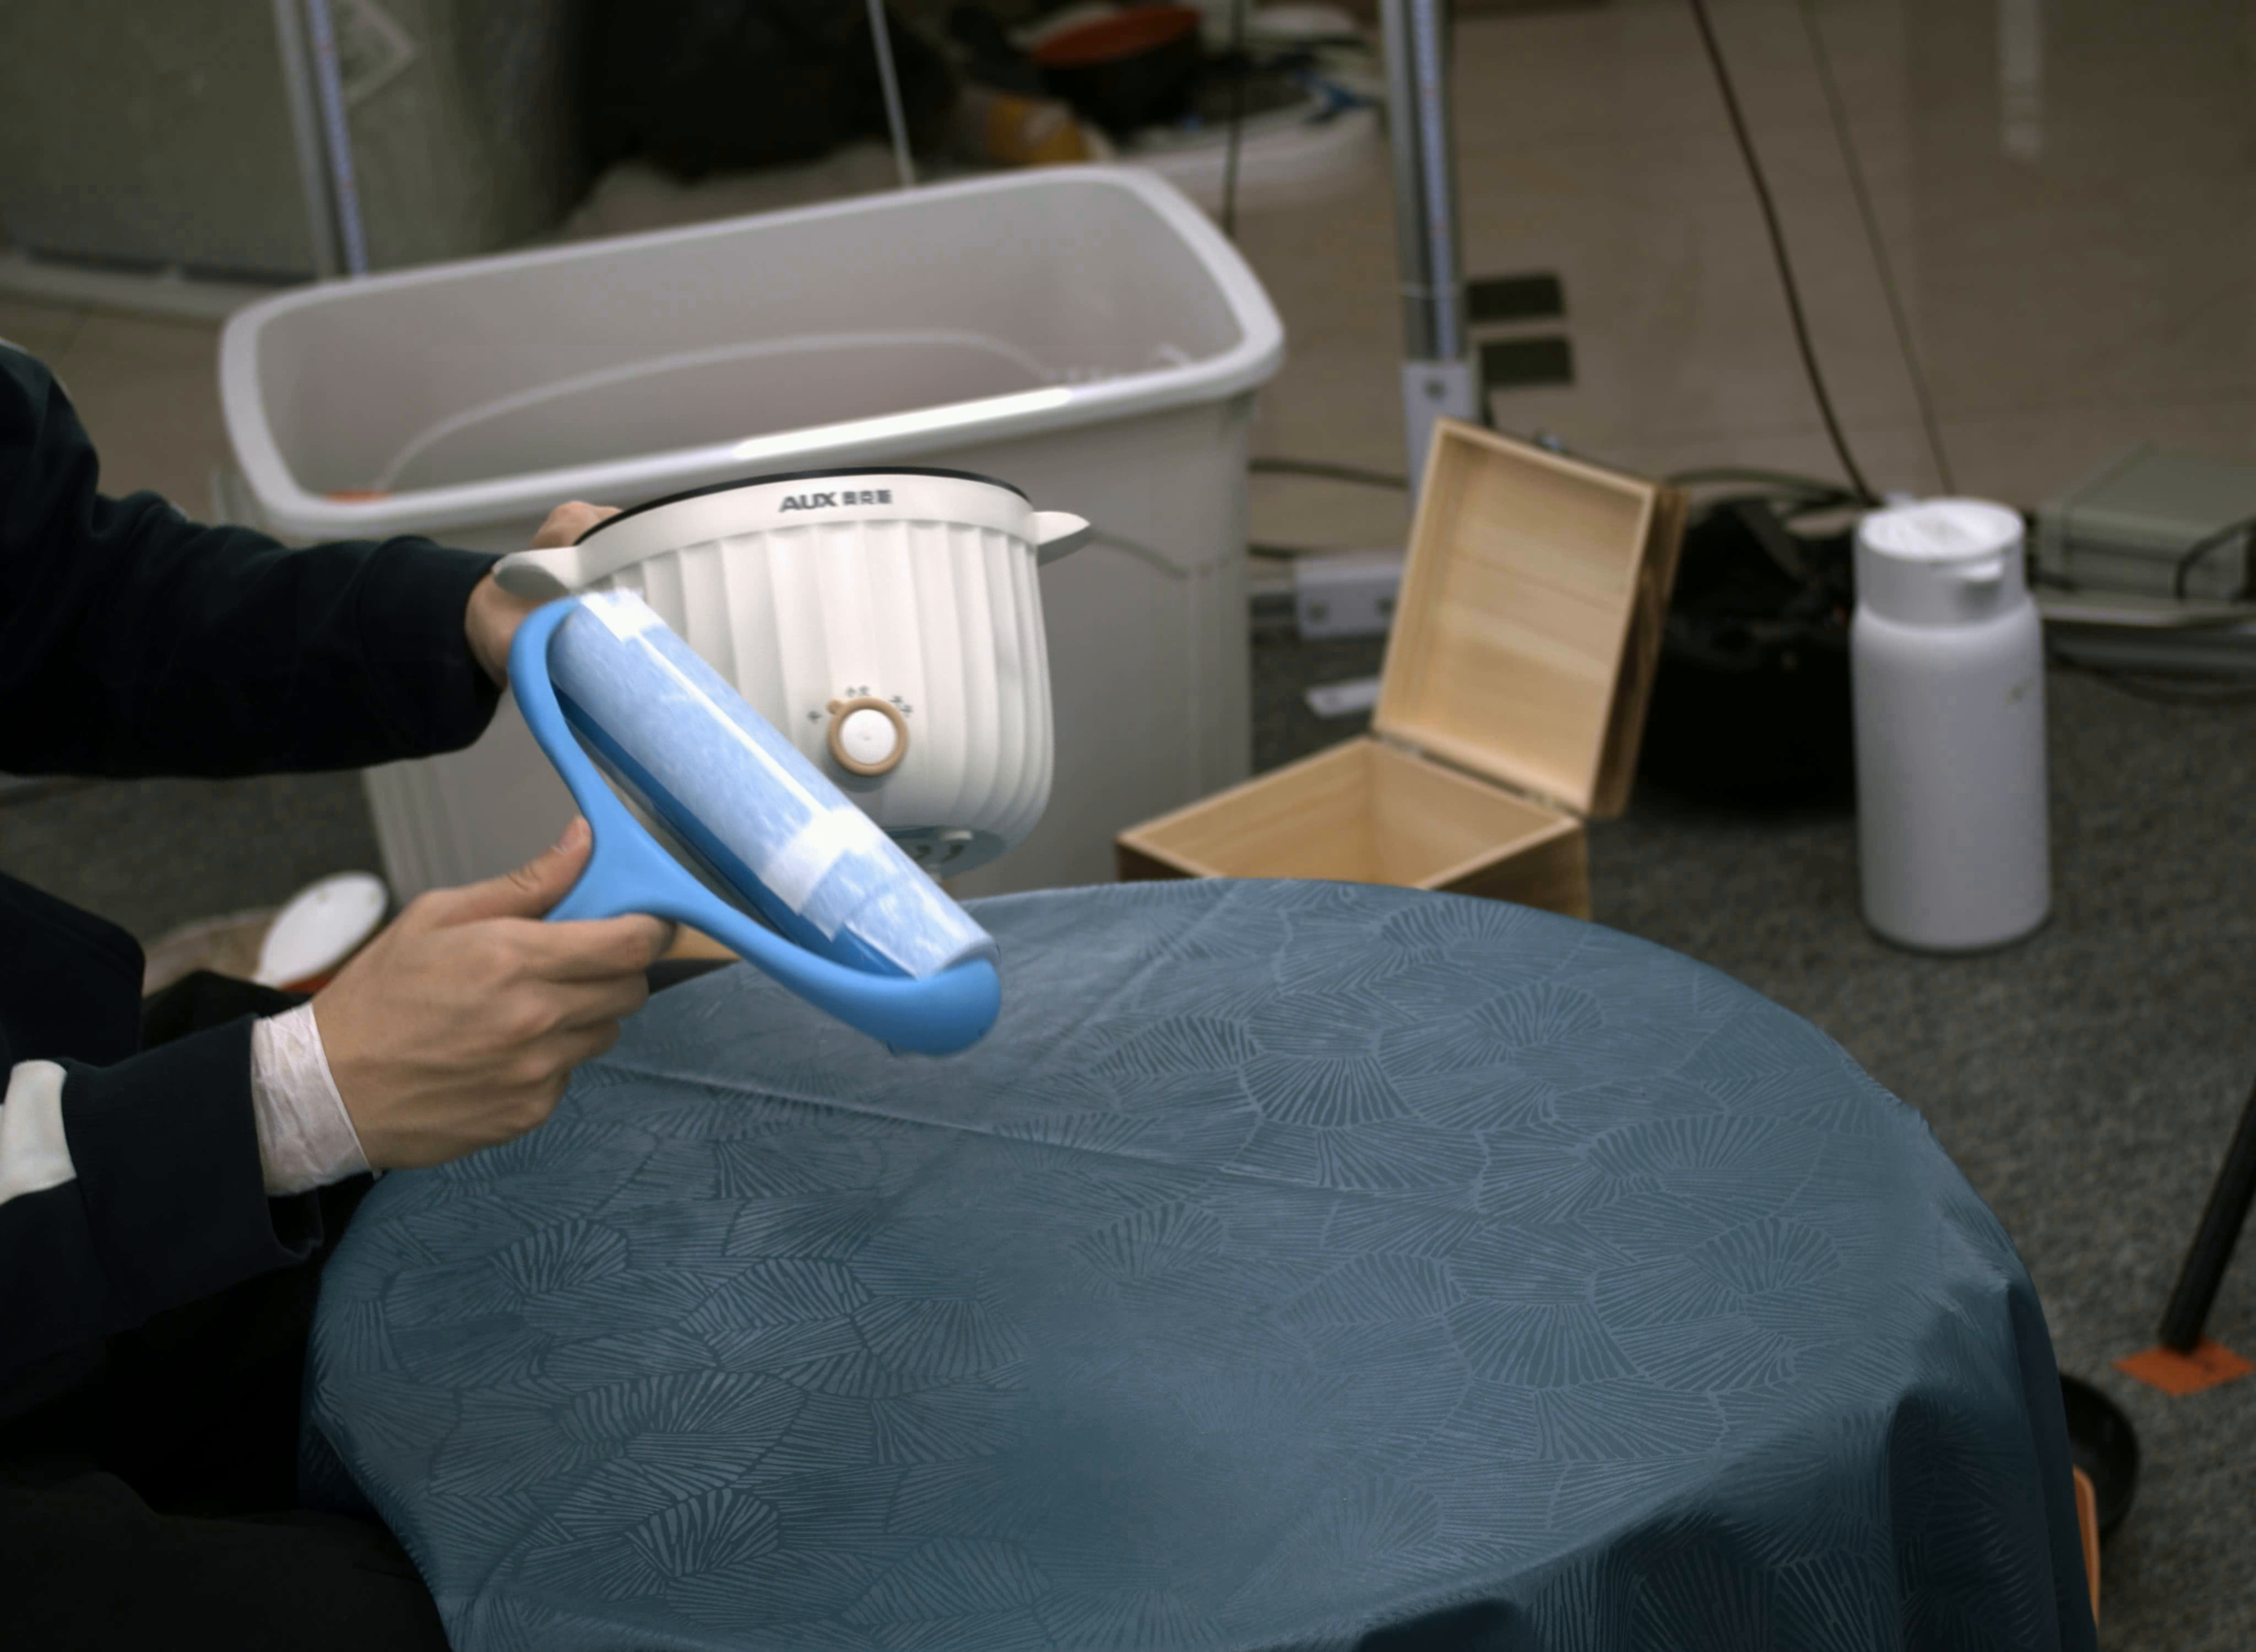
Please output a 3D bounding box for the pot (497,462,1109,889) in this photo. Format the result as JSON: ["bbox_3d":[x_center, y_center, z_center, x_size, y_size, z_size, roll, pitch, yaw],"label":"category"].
[{"bbox_3d":[-0.113,-0.050,2.165,0.240,0.141,0.192,-6,-14,-13],"label":"pot"}]

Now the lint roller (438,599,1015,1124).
[{"bbox_3d":[-0.167,0.034,1.963,0.227,0.069,0.178,41,64,16],"label":"lint roller"}]
